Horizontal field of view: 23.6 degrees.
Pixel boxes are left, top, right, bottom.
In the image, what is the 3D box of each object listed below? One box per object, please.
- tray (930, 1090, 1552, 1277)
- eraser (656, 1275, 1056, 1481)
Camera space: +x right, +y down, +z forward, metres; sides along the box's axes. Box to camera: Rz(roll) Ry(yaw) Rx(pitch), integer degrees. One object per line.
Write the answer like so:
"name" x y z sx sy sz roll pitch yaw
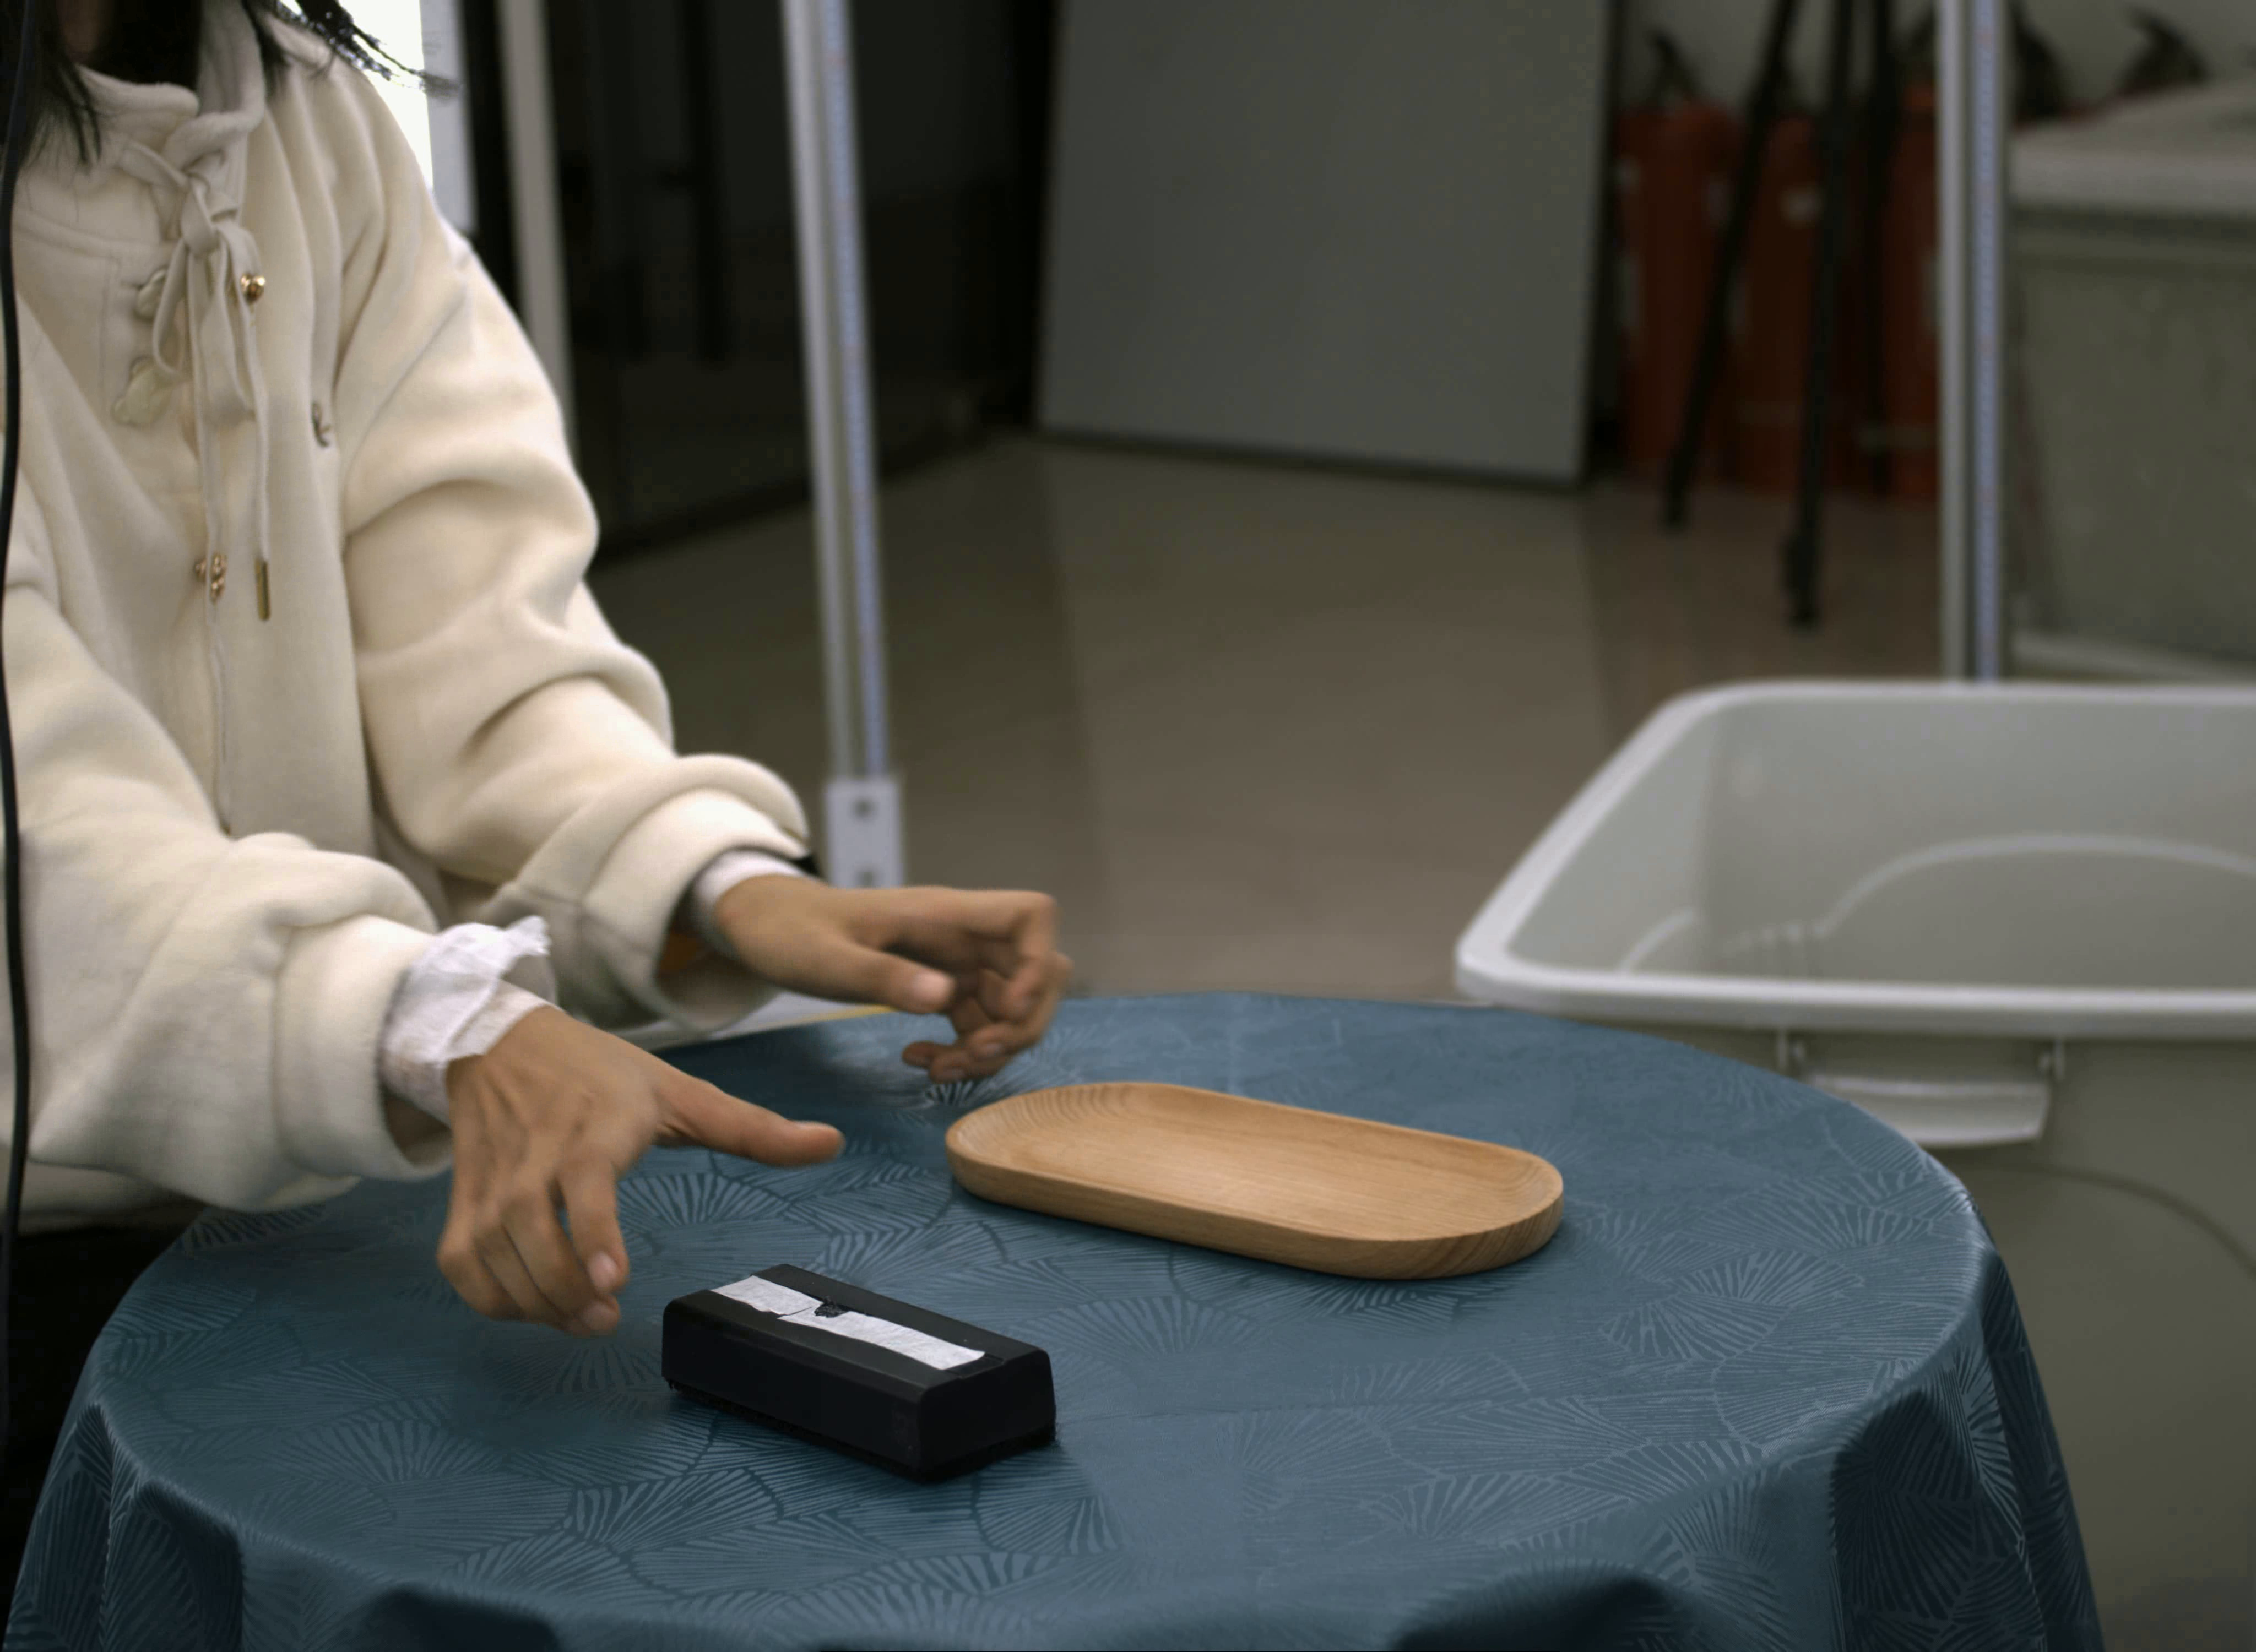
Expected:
"tray" 0.035 0.115 1.750 0.233 0.020 0.100 5 16 40
"eraser" -0.080 0.160 1.574 0.052 0.031 0.127 -7 14 -41
